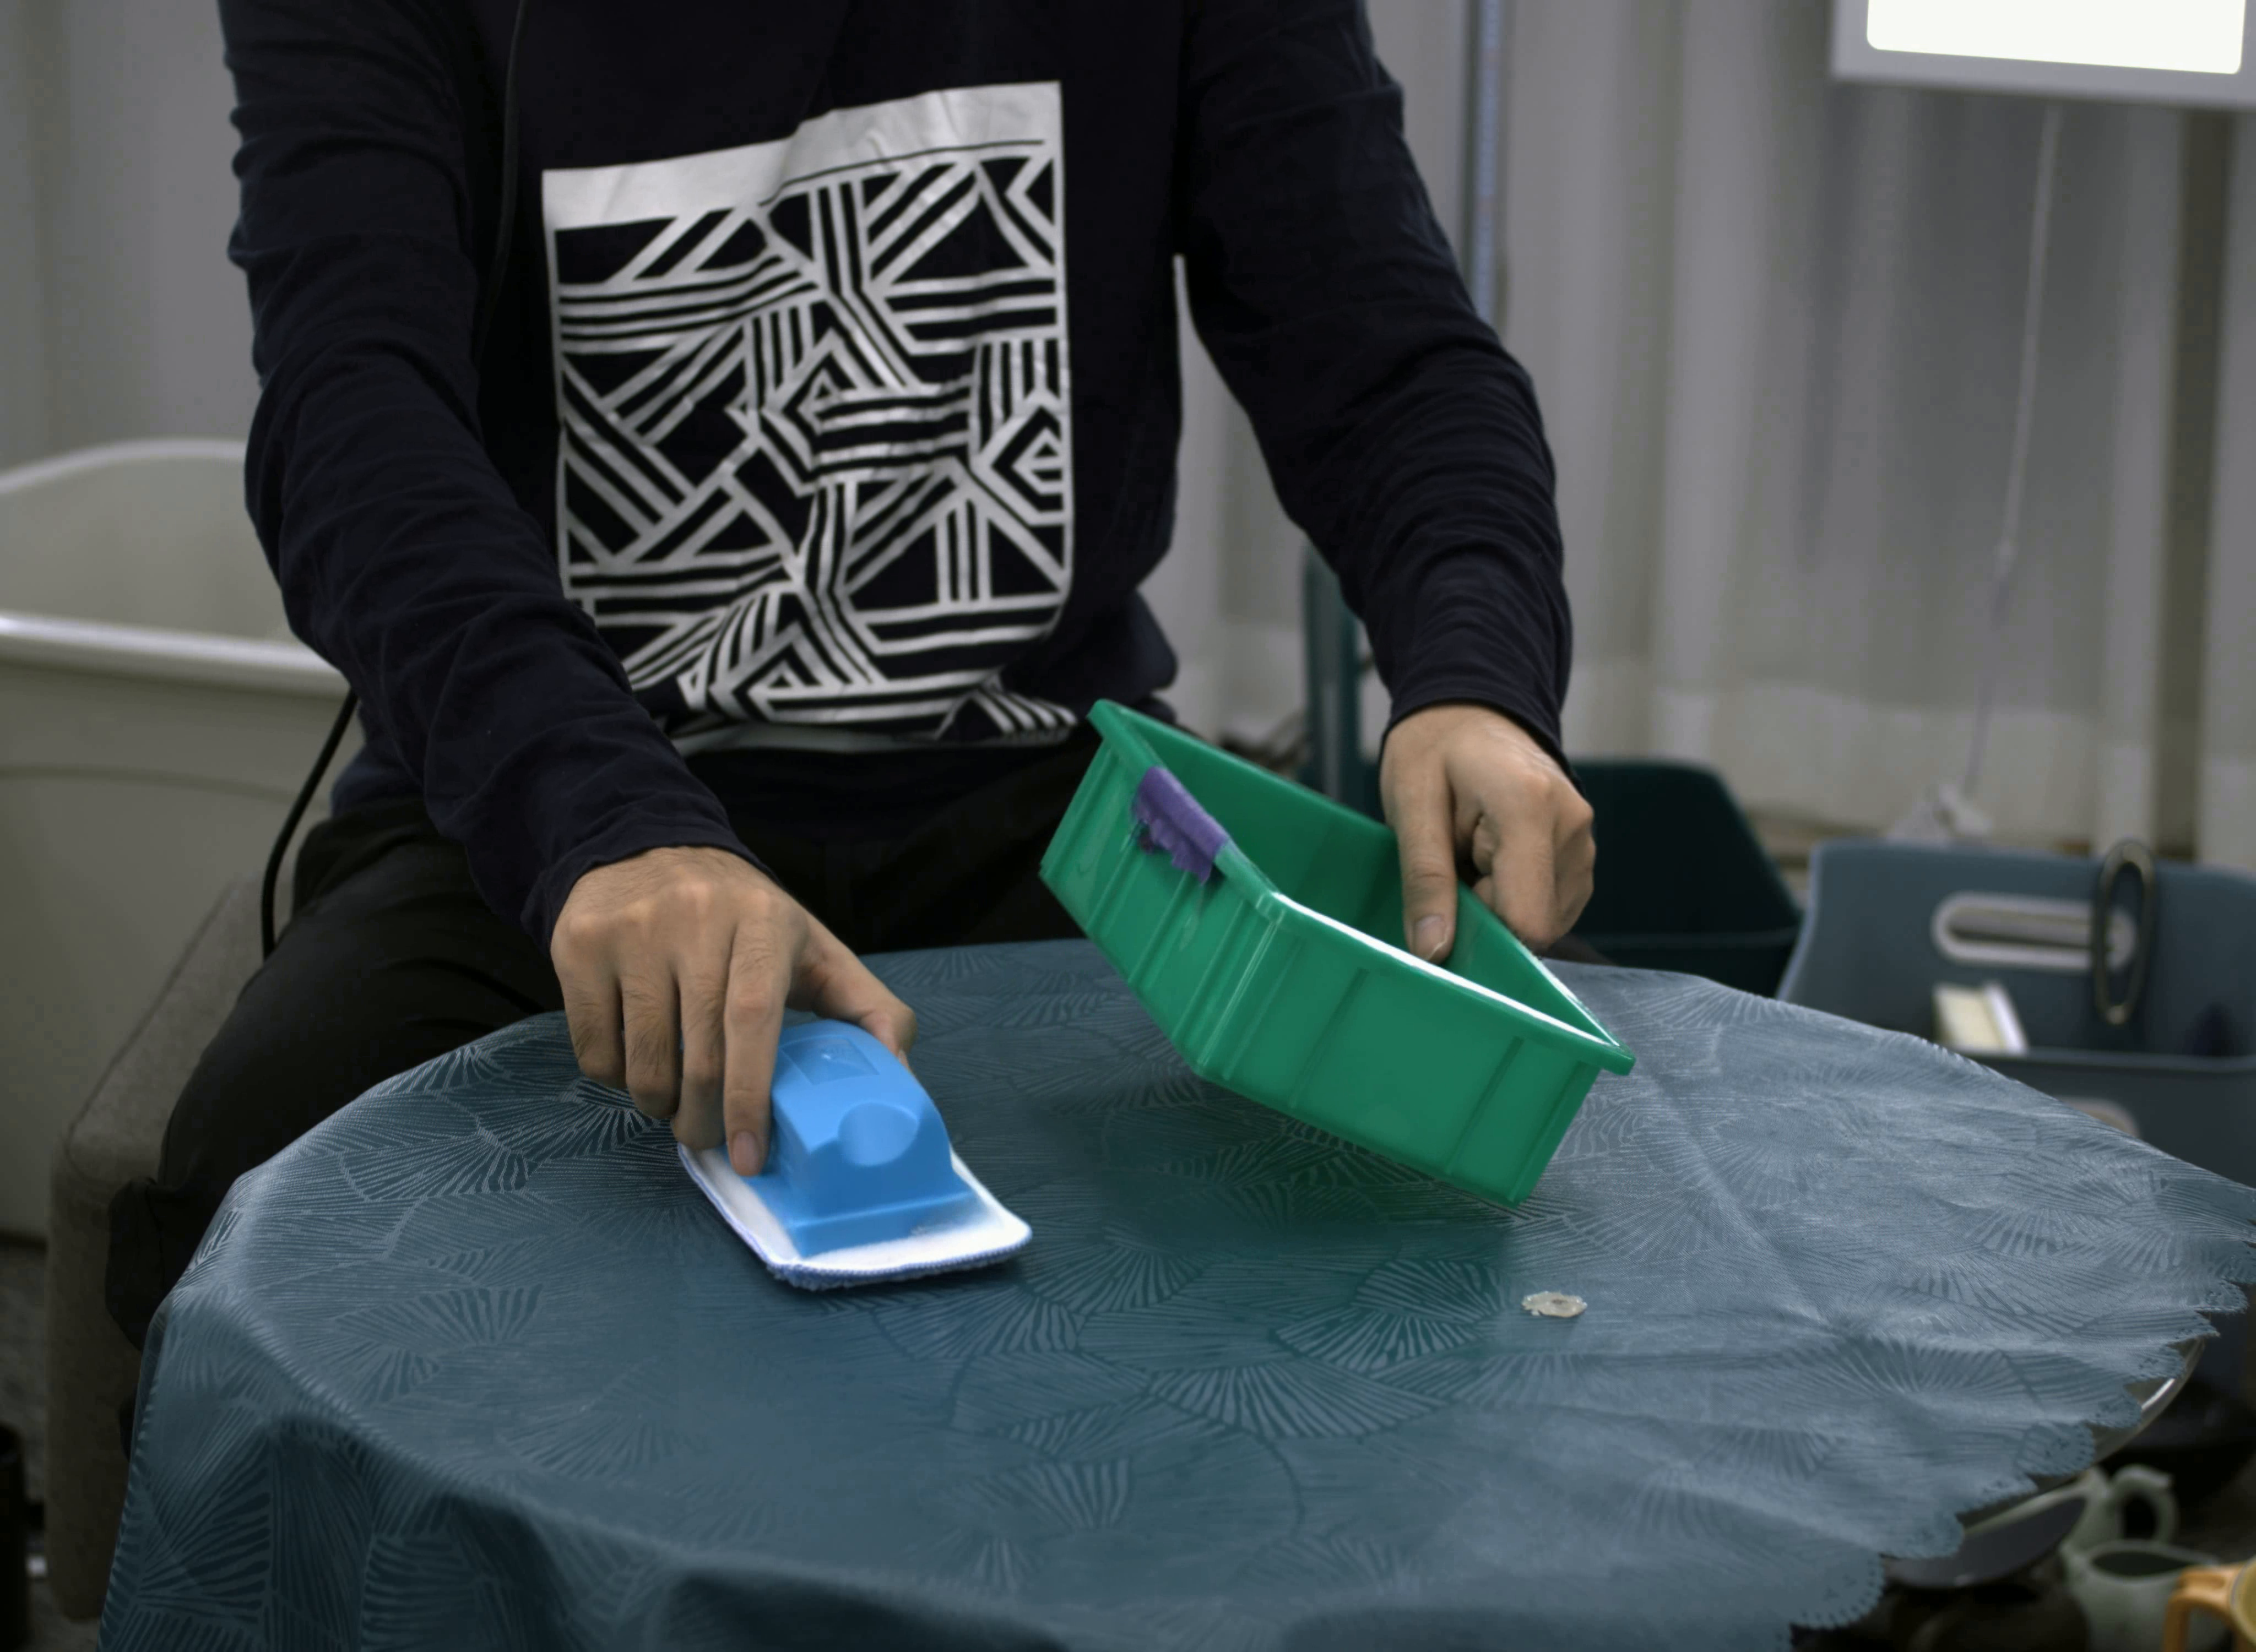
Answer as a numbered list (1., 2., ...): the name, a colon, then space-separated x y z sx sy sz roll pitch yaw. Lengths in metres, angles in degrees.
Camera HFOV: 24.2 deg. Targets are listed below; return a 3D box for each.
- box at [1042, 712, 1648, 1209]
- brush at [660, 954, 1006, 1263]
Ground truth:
1. box: 0.060 0.043 1.650 0.140 0.065 0.208 22 11 -25
2. brush: -0.090 0.081 1.592 0.084 0.056 0.142 -9 27 -16
